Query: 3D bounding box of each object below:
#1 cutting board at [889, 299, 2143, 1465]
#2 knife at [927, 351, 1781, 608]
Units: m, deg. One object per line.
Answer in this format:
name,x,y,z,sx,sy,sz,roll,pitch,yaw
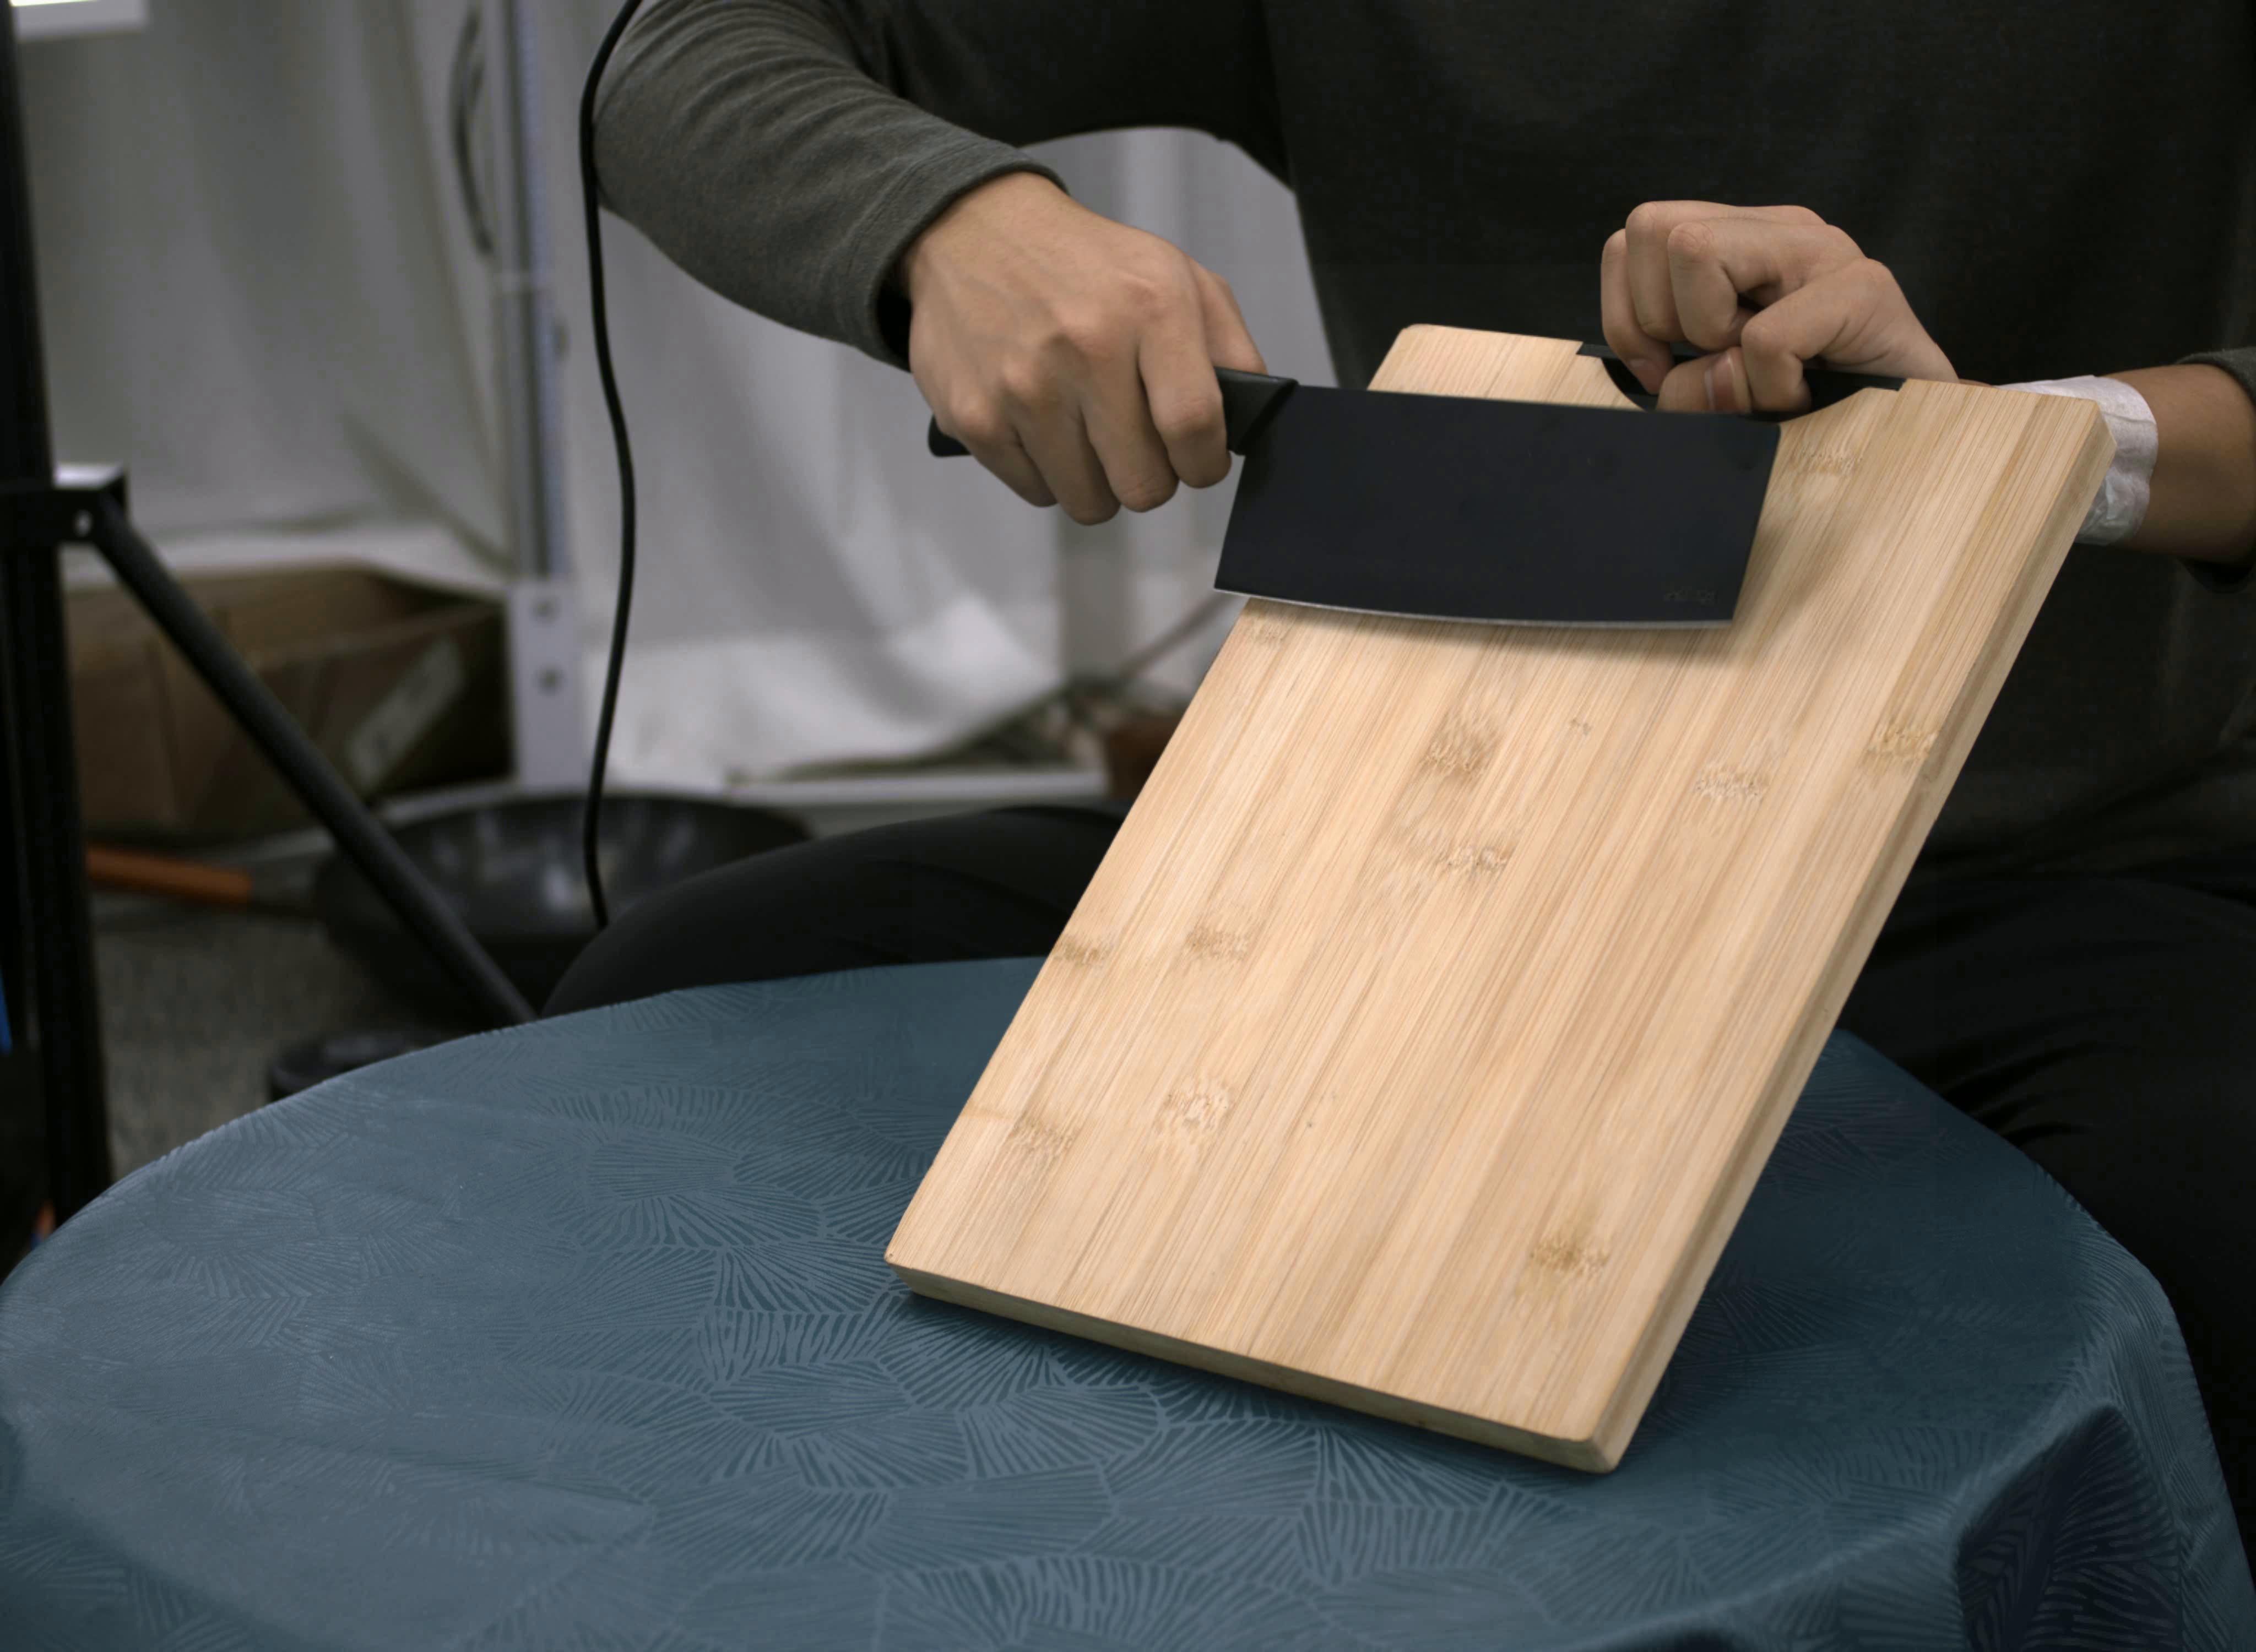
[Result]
cutting board,0.107,0.003,1.475,0.256,0.023,0.348,10,61,38
knife,0.058,-0.103,1.555,0.309,0.081,0.020,12,-10,41
